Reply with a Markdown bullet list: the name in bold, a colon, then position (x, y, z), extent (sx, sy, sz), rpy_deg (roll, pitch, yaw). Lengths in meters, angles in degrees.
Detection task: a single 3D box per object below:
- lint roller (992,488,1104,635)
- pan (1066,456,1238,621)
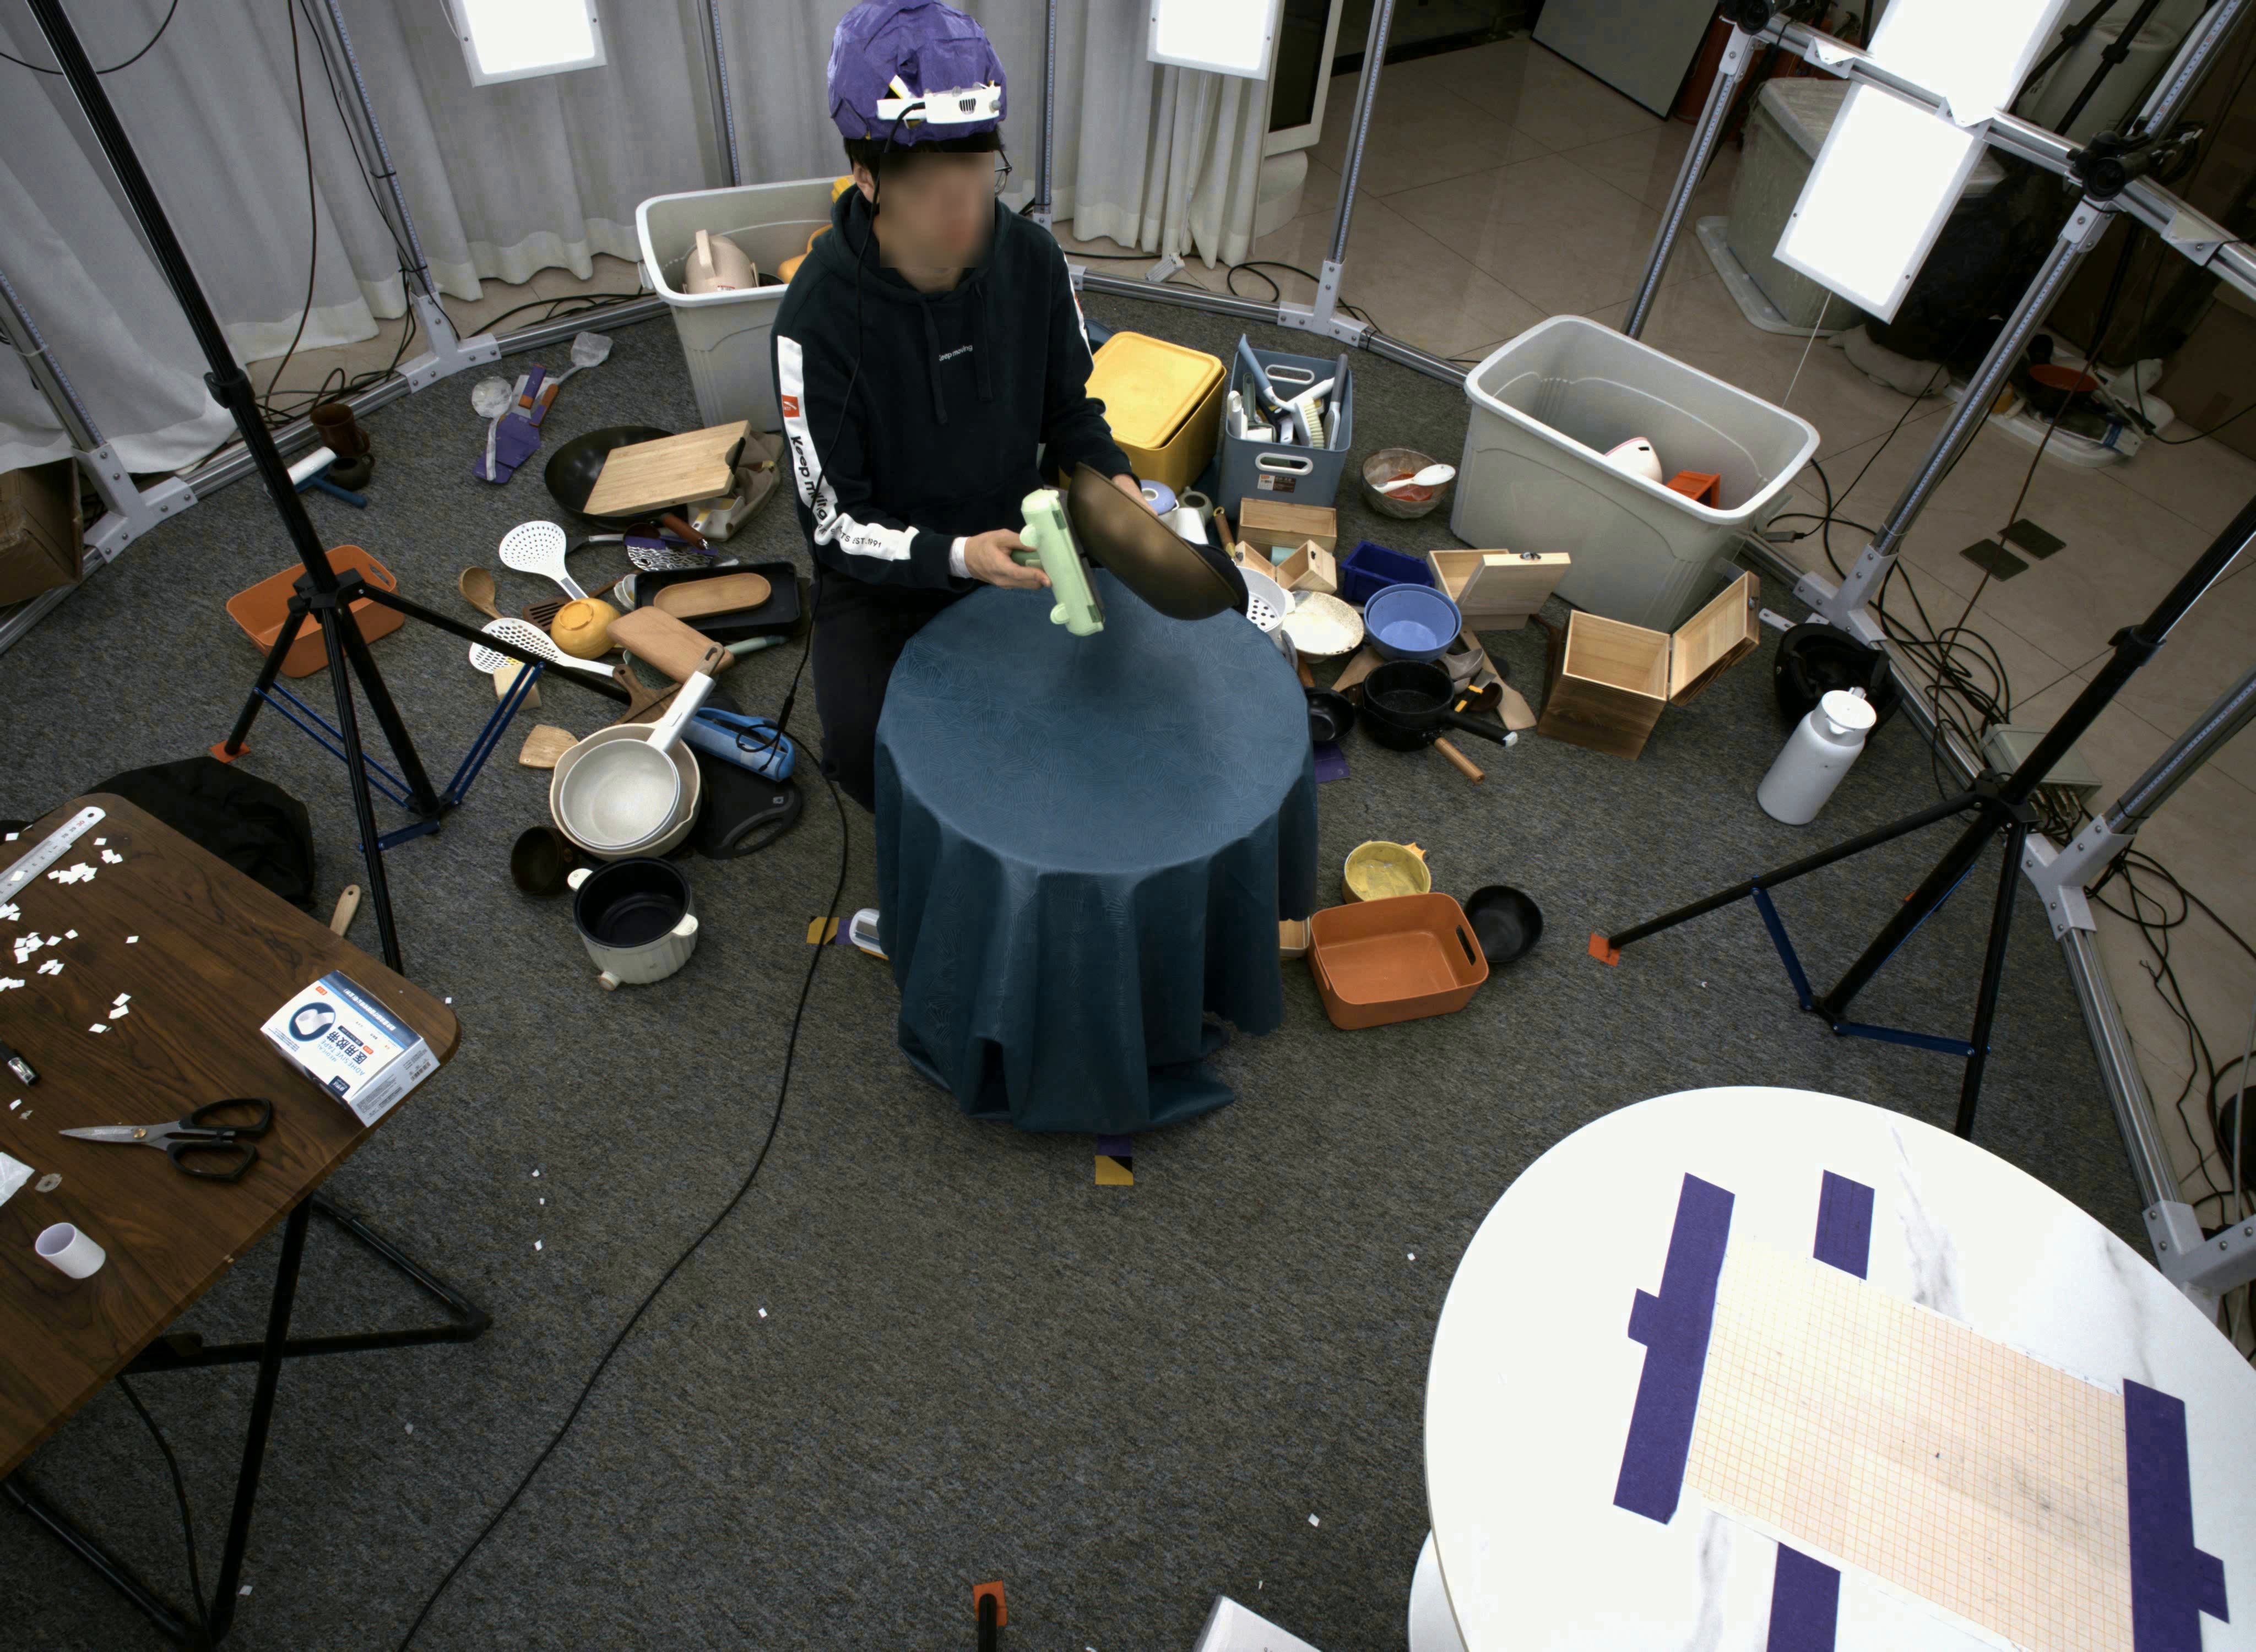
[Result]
- **lint roller**: position (-0.132, -0.347, 1.721), extent (0.184, 0.194, 0.083), rpy_deg (7, 40, 39)
- **pan**: position (-0.005, -0.389, 1.792), extent (0.087, 0.284, 0.470), rpy_deg (-49, 21, 4)
